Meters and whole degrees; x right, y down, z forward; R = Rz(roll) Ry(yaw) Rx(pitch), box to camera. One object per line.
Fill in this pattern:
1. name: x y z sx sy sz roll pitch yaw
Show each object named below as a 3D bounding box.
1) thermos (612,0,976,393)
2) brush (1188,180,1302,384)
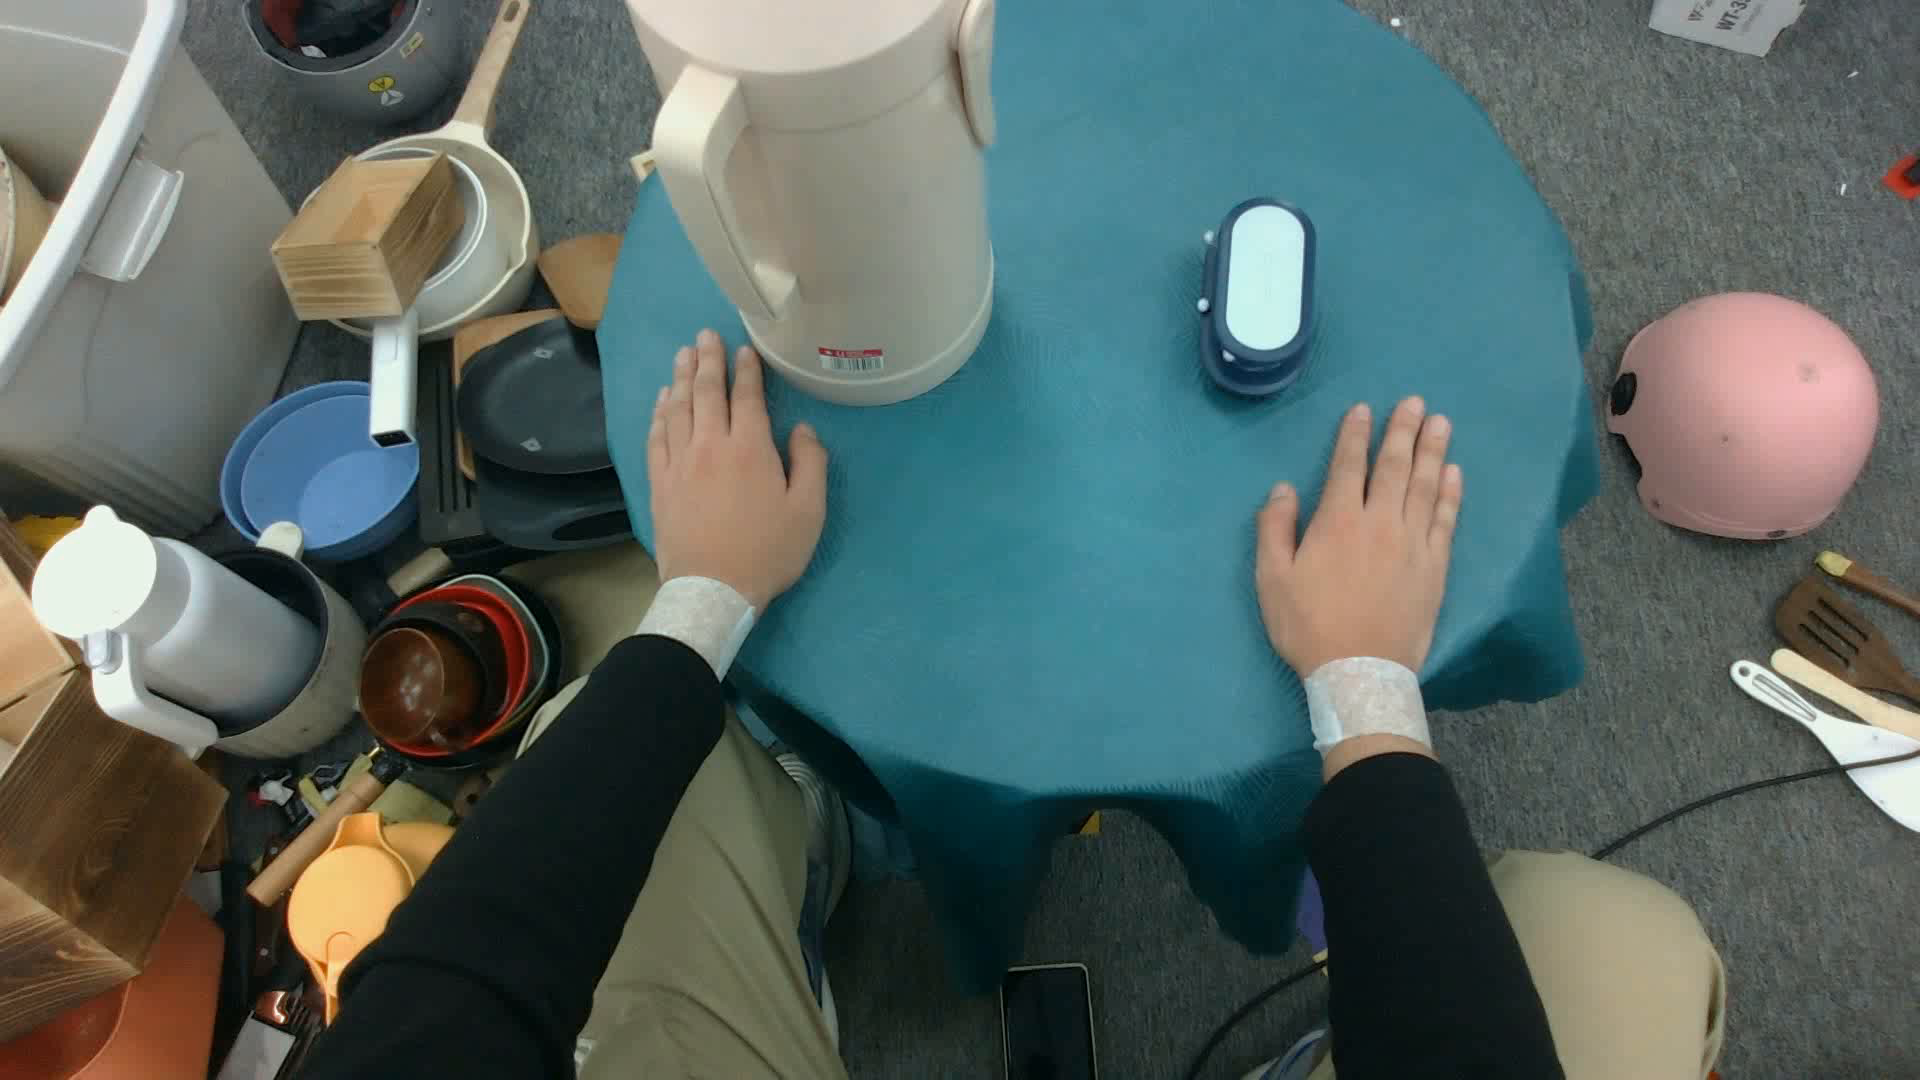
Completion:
1. thermos: -0.083 -0.219 0.674 0.175 0.405 0.208 21 71 8
2. brush: 0.171 -0.152 0.822 0.068 0.061 0.122 6 68 7
